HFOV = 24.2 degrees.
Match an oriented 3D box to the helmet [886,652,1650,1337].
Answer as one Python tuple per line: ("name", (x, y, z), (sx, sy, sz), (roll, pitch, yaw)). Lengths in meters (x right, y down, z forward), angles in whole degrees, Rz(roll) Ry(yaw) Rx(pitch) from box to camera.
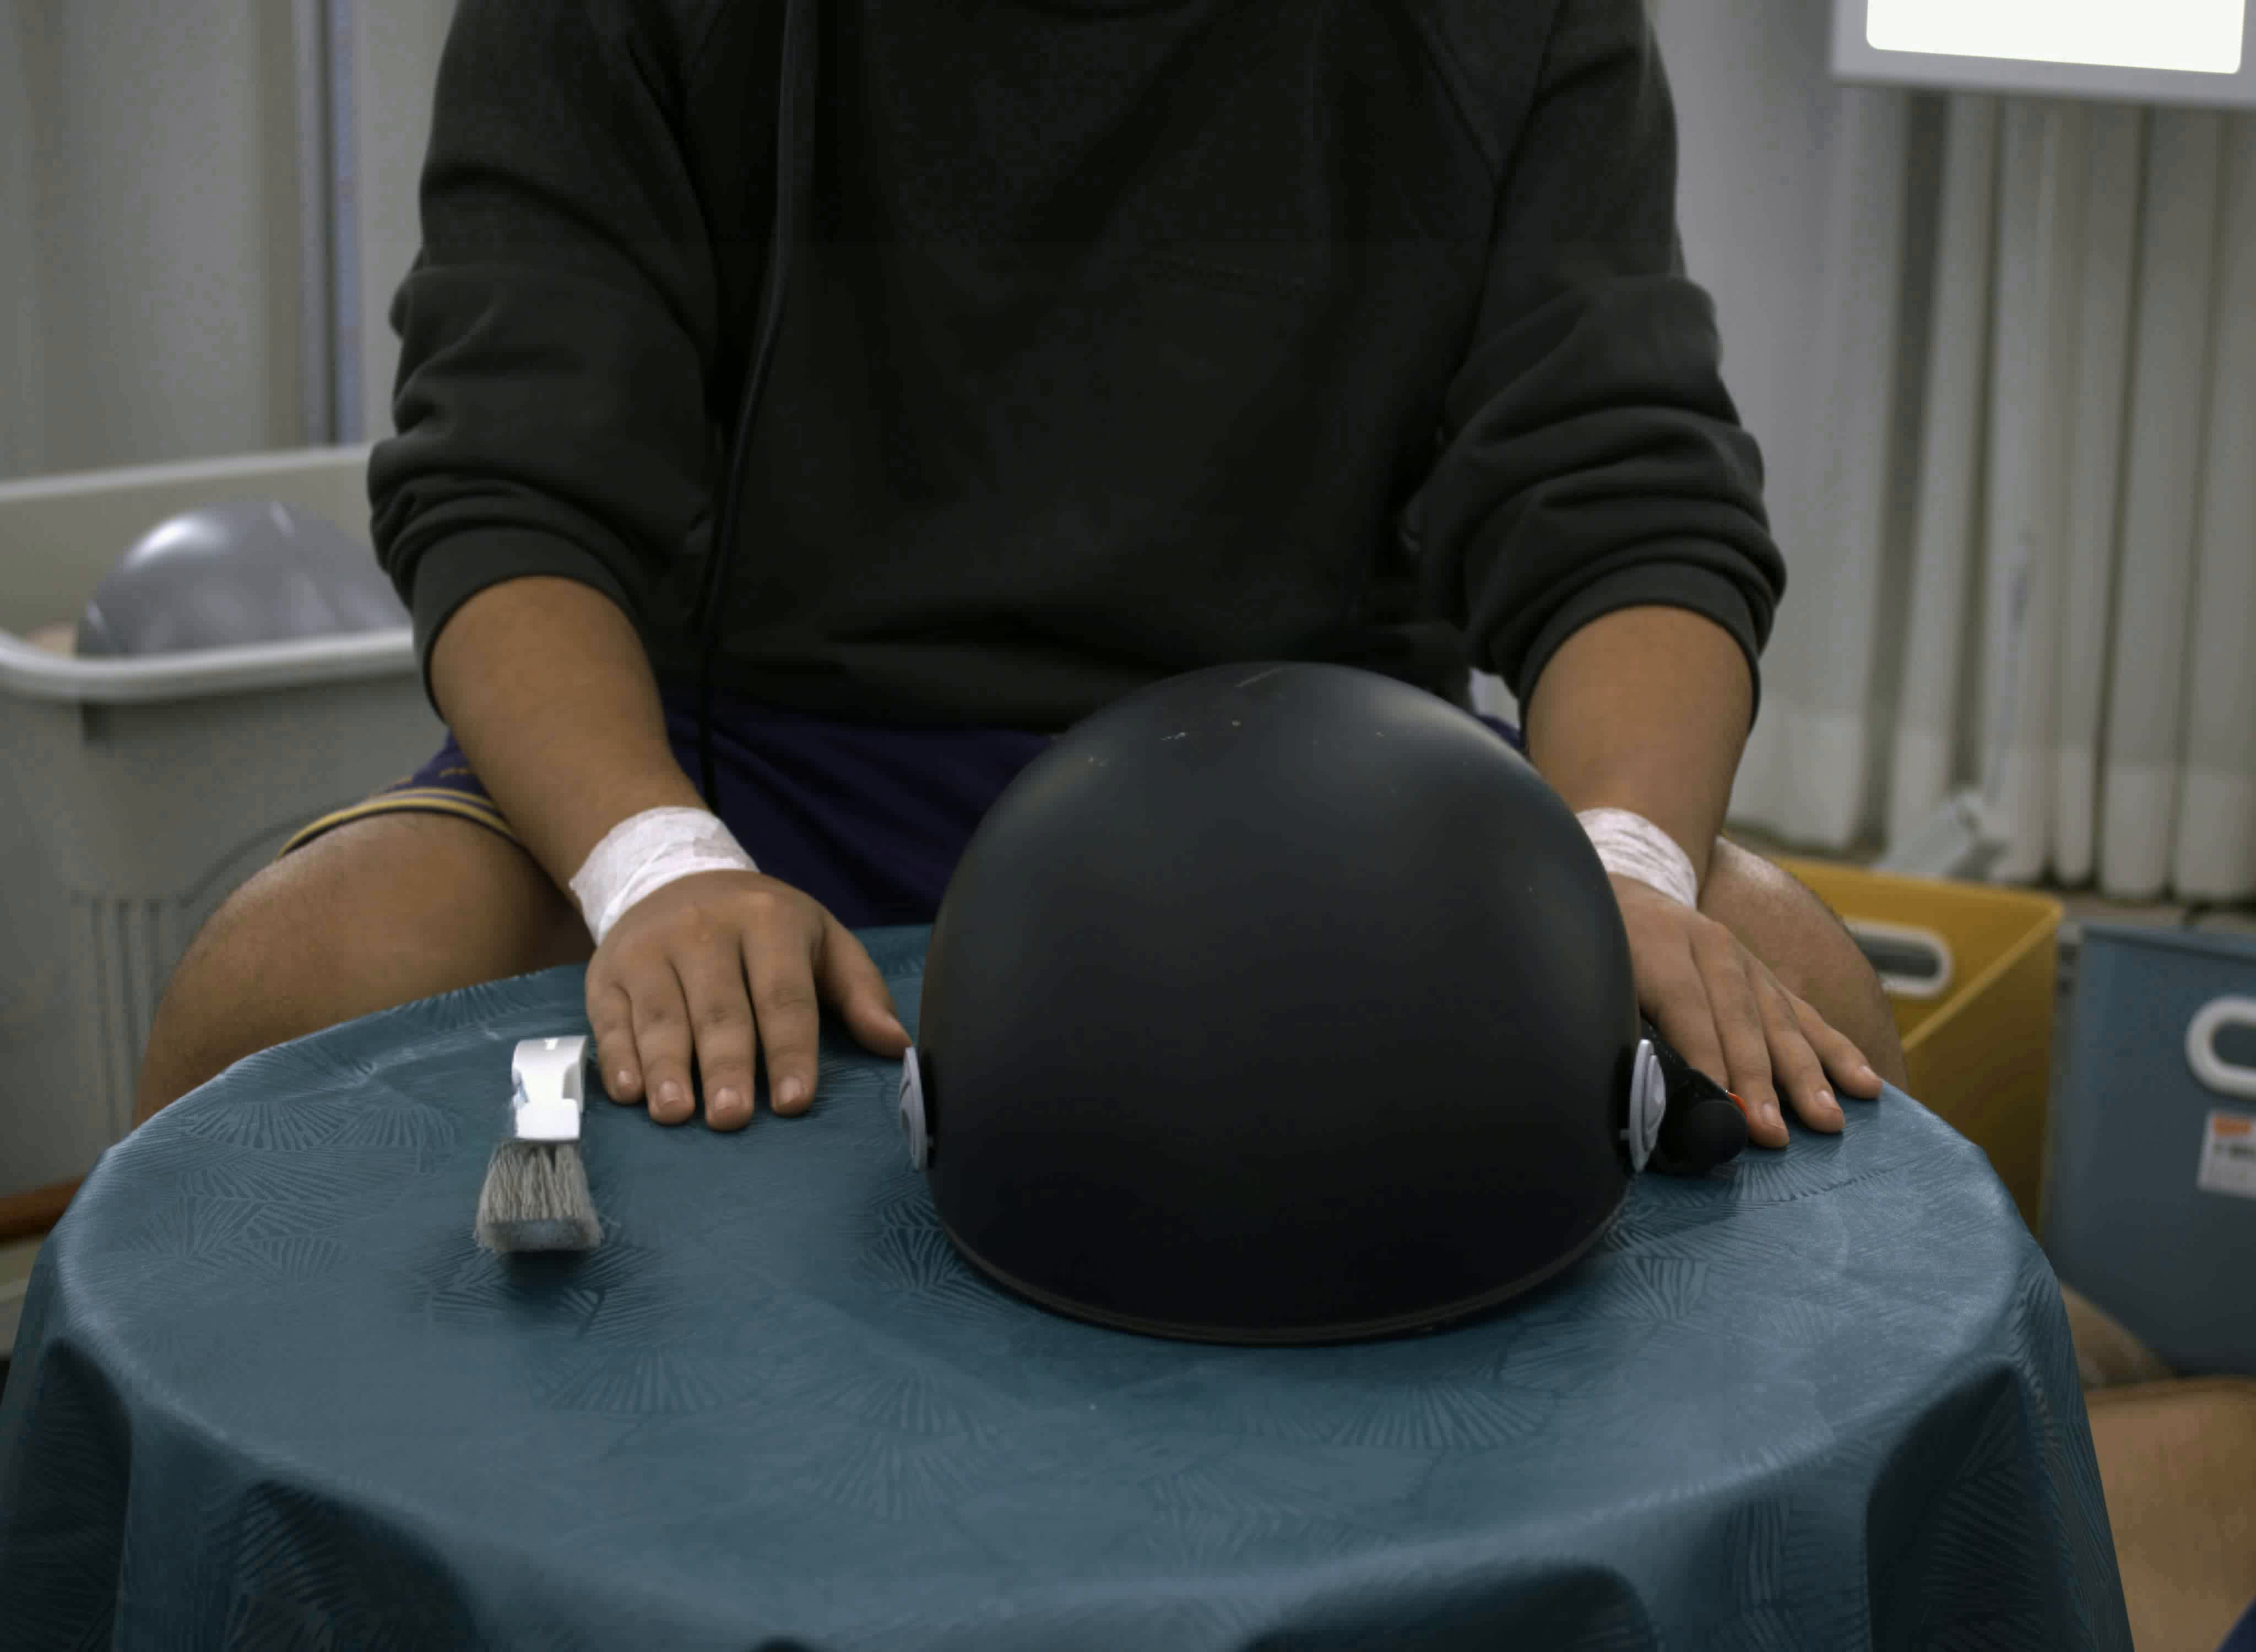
("helmet", (0.043, 0.038, 1.599), (0.229, 0.168, 0.272), (-1, 17, 5))

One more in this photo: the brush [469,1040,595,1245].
("brush", (-0.182, 0.097, 1.627), (0.034, 0.050, 0.243), (-5, 3, -5))
